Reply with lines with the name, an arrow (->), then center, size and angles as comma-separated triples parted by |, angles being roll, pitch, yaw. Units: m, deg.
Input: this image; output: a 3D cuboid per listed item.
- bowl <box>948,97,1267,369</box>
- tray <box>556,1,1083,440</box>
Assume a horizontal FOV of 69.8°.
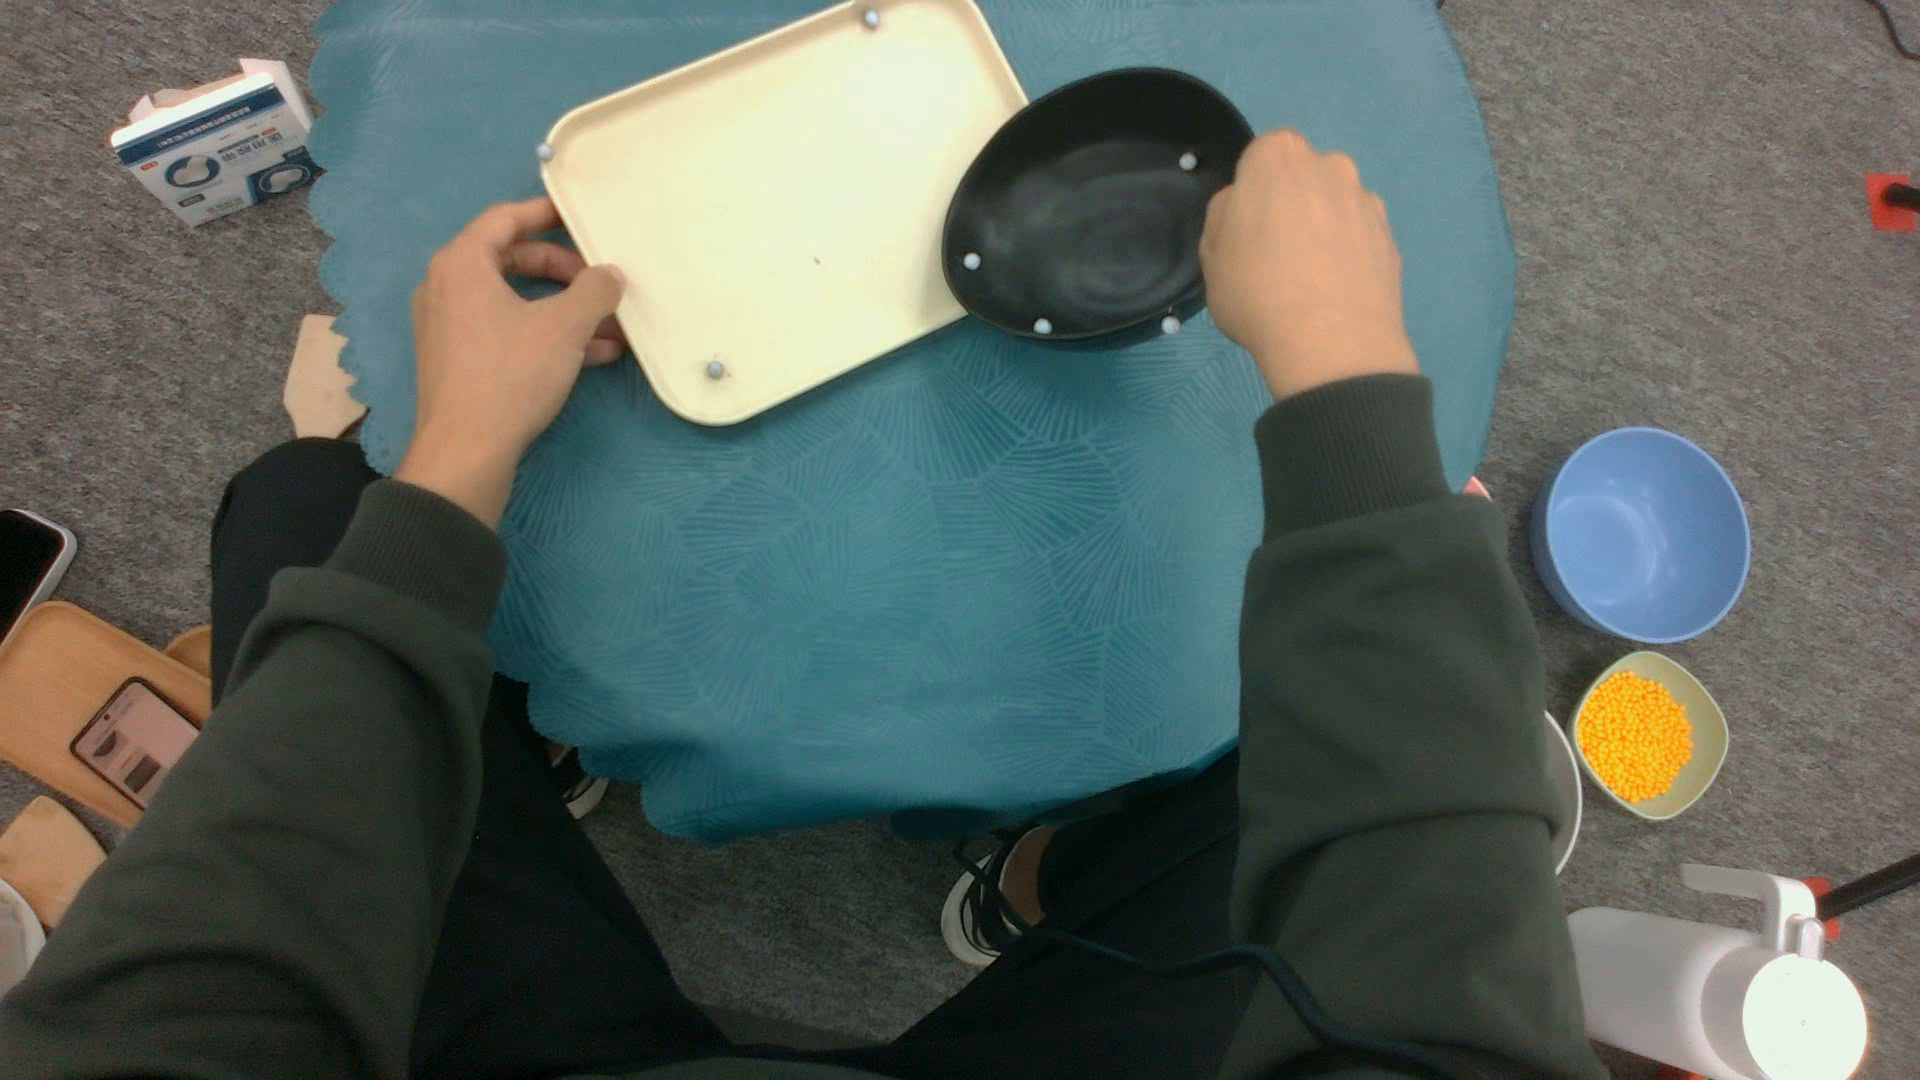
bowl -> 0.073, -0.138, 0.671 | 0.170, 0.066, 0.137 | 9, 75, 32
tray -> -0.068, -0.166, 0.706 | 0.240, 0.017, 0.171 | -28, 87, -14
